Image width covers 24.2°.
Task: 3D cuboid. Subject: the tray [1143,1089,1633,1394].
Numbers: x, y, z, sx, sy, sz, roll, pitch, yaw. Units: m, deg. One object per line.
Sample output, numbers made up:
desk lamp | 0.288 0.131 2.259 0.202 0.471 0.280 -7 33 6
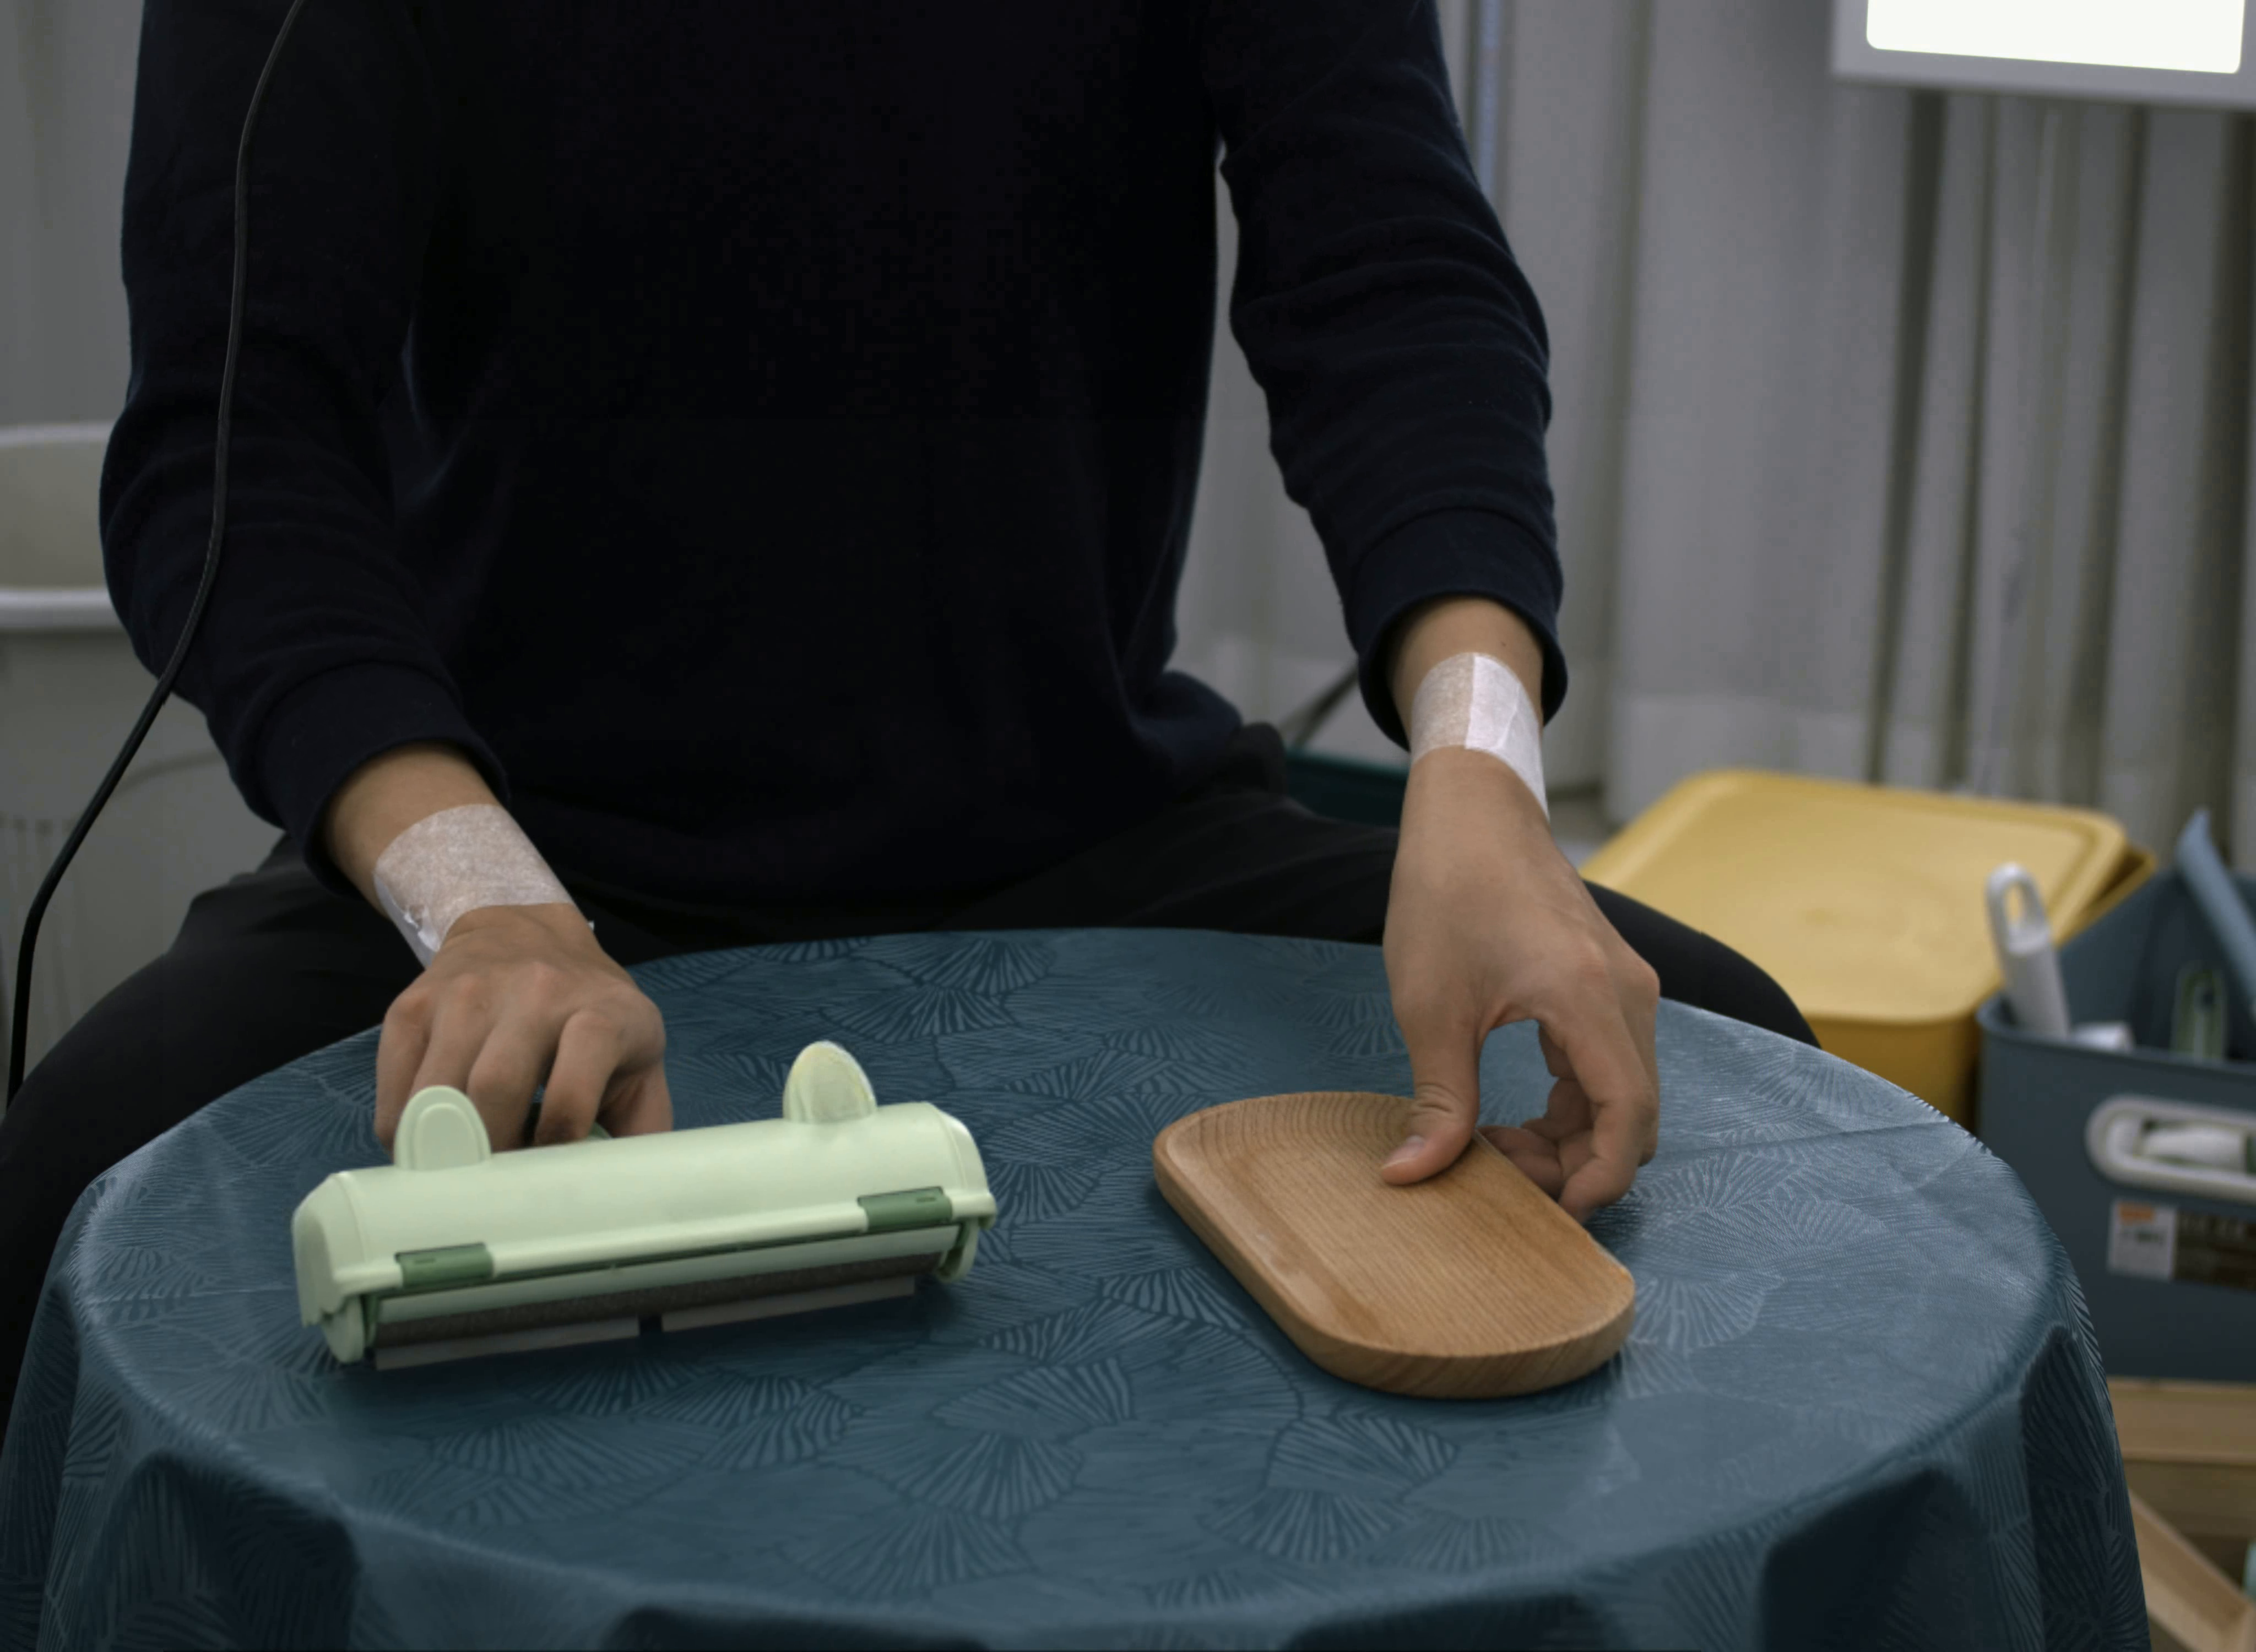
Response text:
tray | 0.074 0.121 1.562 0.102 0.020 0.229 -6 15 -16

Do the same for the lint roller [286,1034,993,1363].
lint roller | -0.159 0.088 1.542 0.199 0.083 0.181 -5 22 -22
